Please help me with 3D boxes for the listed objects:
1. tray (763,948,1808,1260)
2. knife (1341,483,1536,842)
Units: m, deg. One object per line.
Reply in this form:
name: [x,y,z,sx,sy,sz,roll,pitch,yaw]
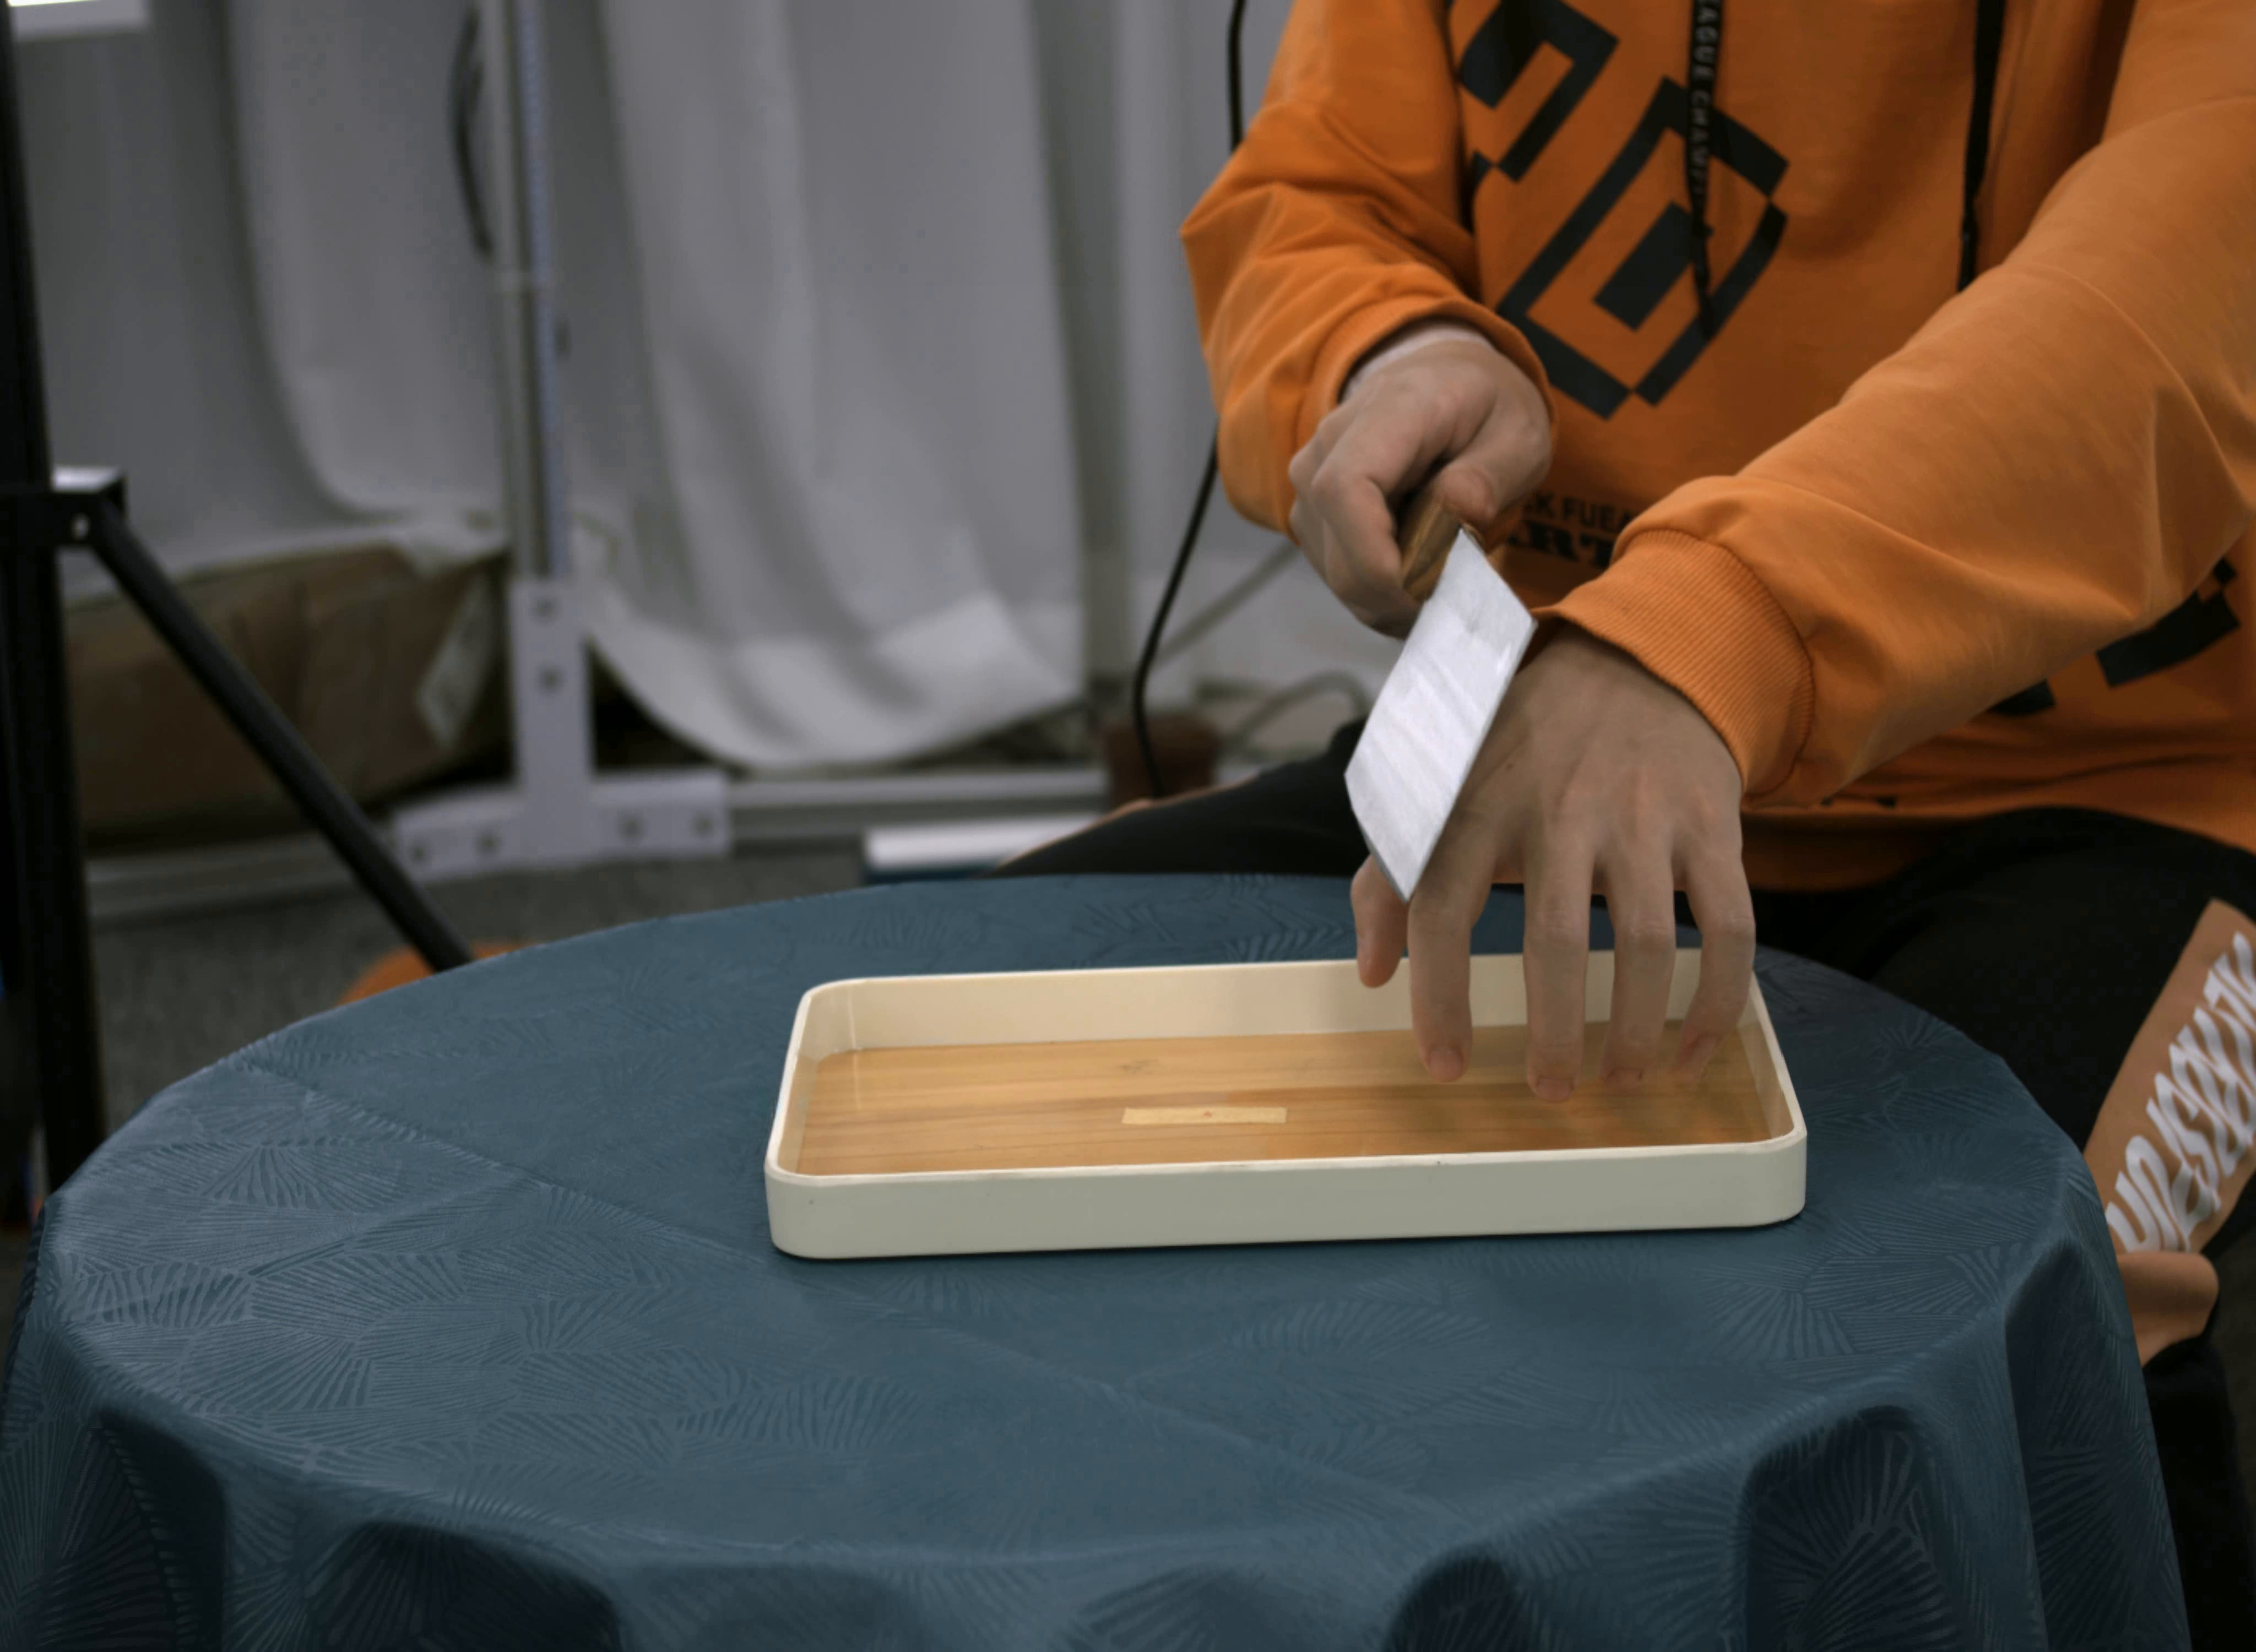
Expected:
tray: [0.046,0.082,1.590,0.299,0.027,0.192,-2,16,3]
knife: [0.089,-0.051,1.639,0.021,0.093,0.307,23,9,-7]
